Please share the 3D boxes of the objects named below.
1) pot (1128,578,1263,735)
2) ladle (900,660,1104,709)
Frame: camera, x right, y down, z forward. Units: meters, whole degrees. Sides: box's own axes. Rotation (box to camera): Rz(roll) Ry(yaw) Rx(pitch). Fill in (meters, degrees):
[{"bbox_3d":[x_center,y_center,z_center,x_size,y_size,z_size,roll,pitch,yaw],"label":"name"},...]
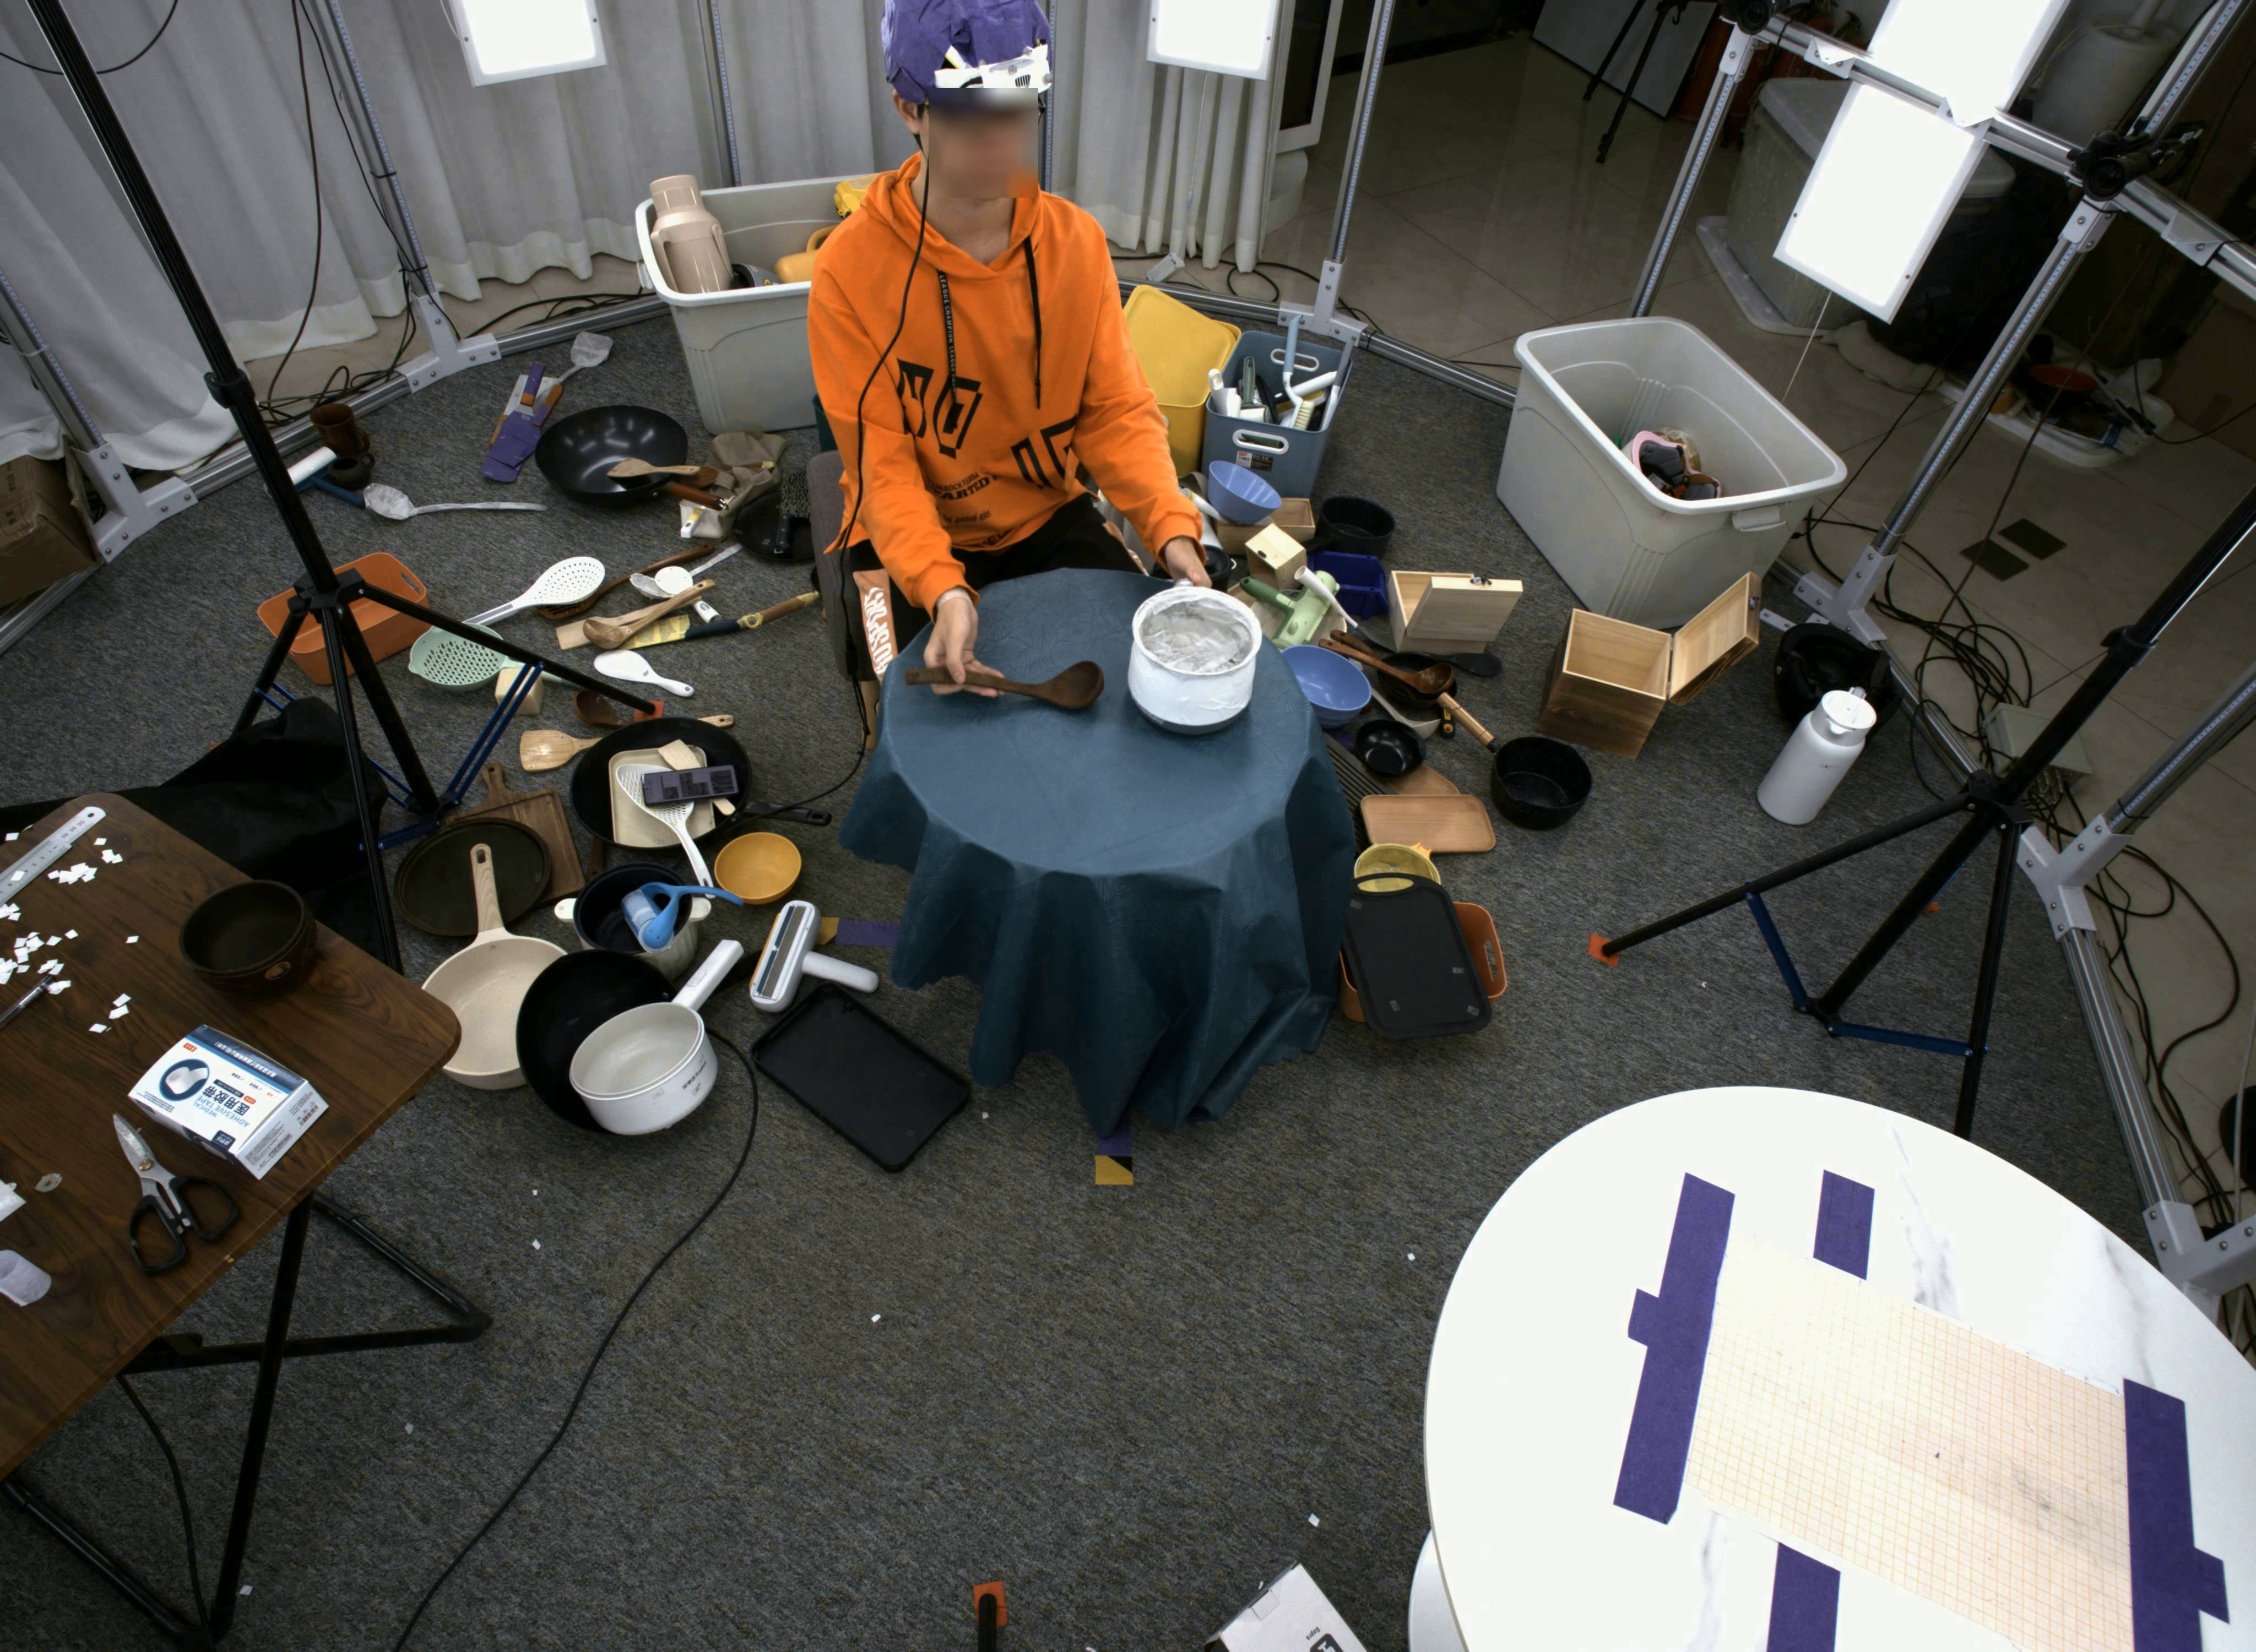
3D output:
[{"bbox_3d":[0.086,-0.247,1.800,0.178,0.133,0.239,-4,50,-8],"label":"pot"},{"bbox_3d":[-0.170,-0.206,1.769,0.273,0.070,0.078,5,49,-17],"label":"ladle"}]
